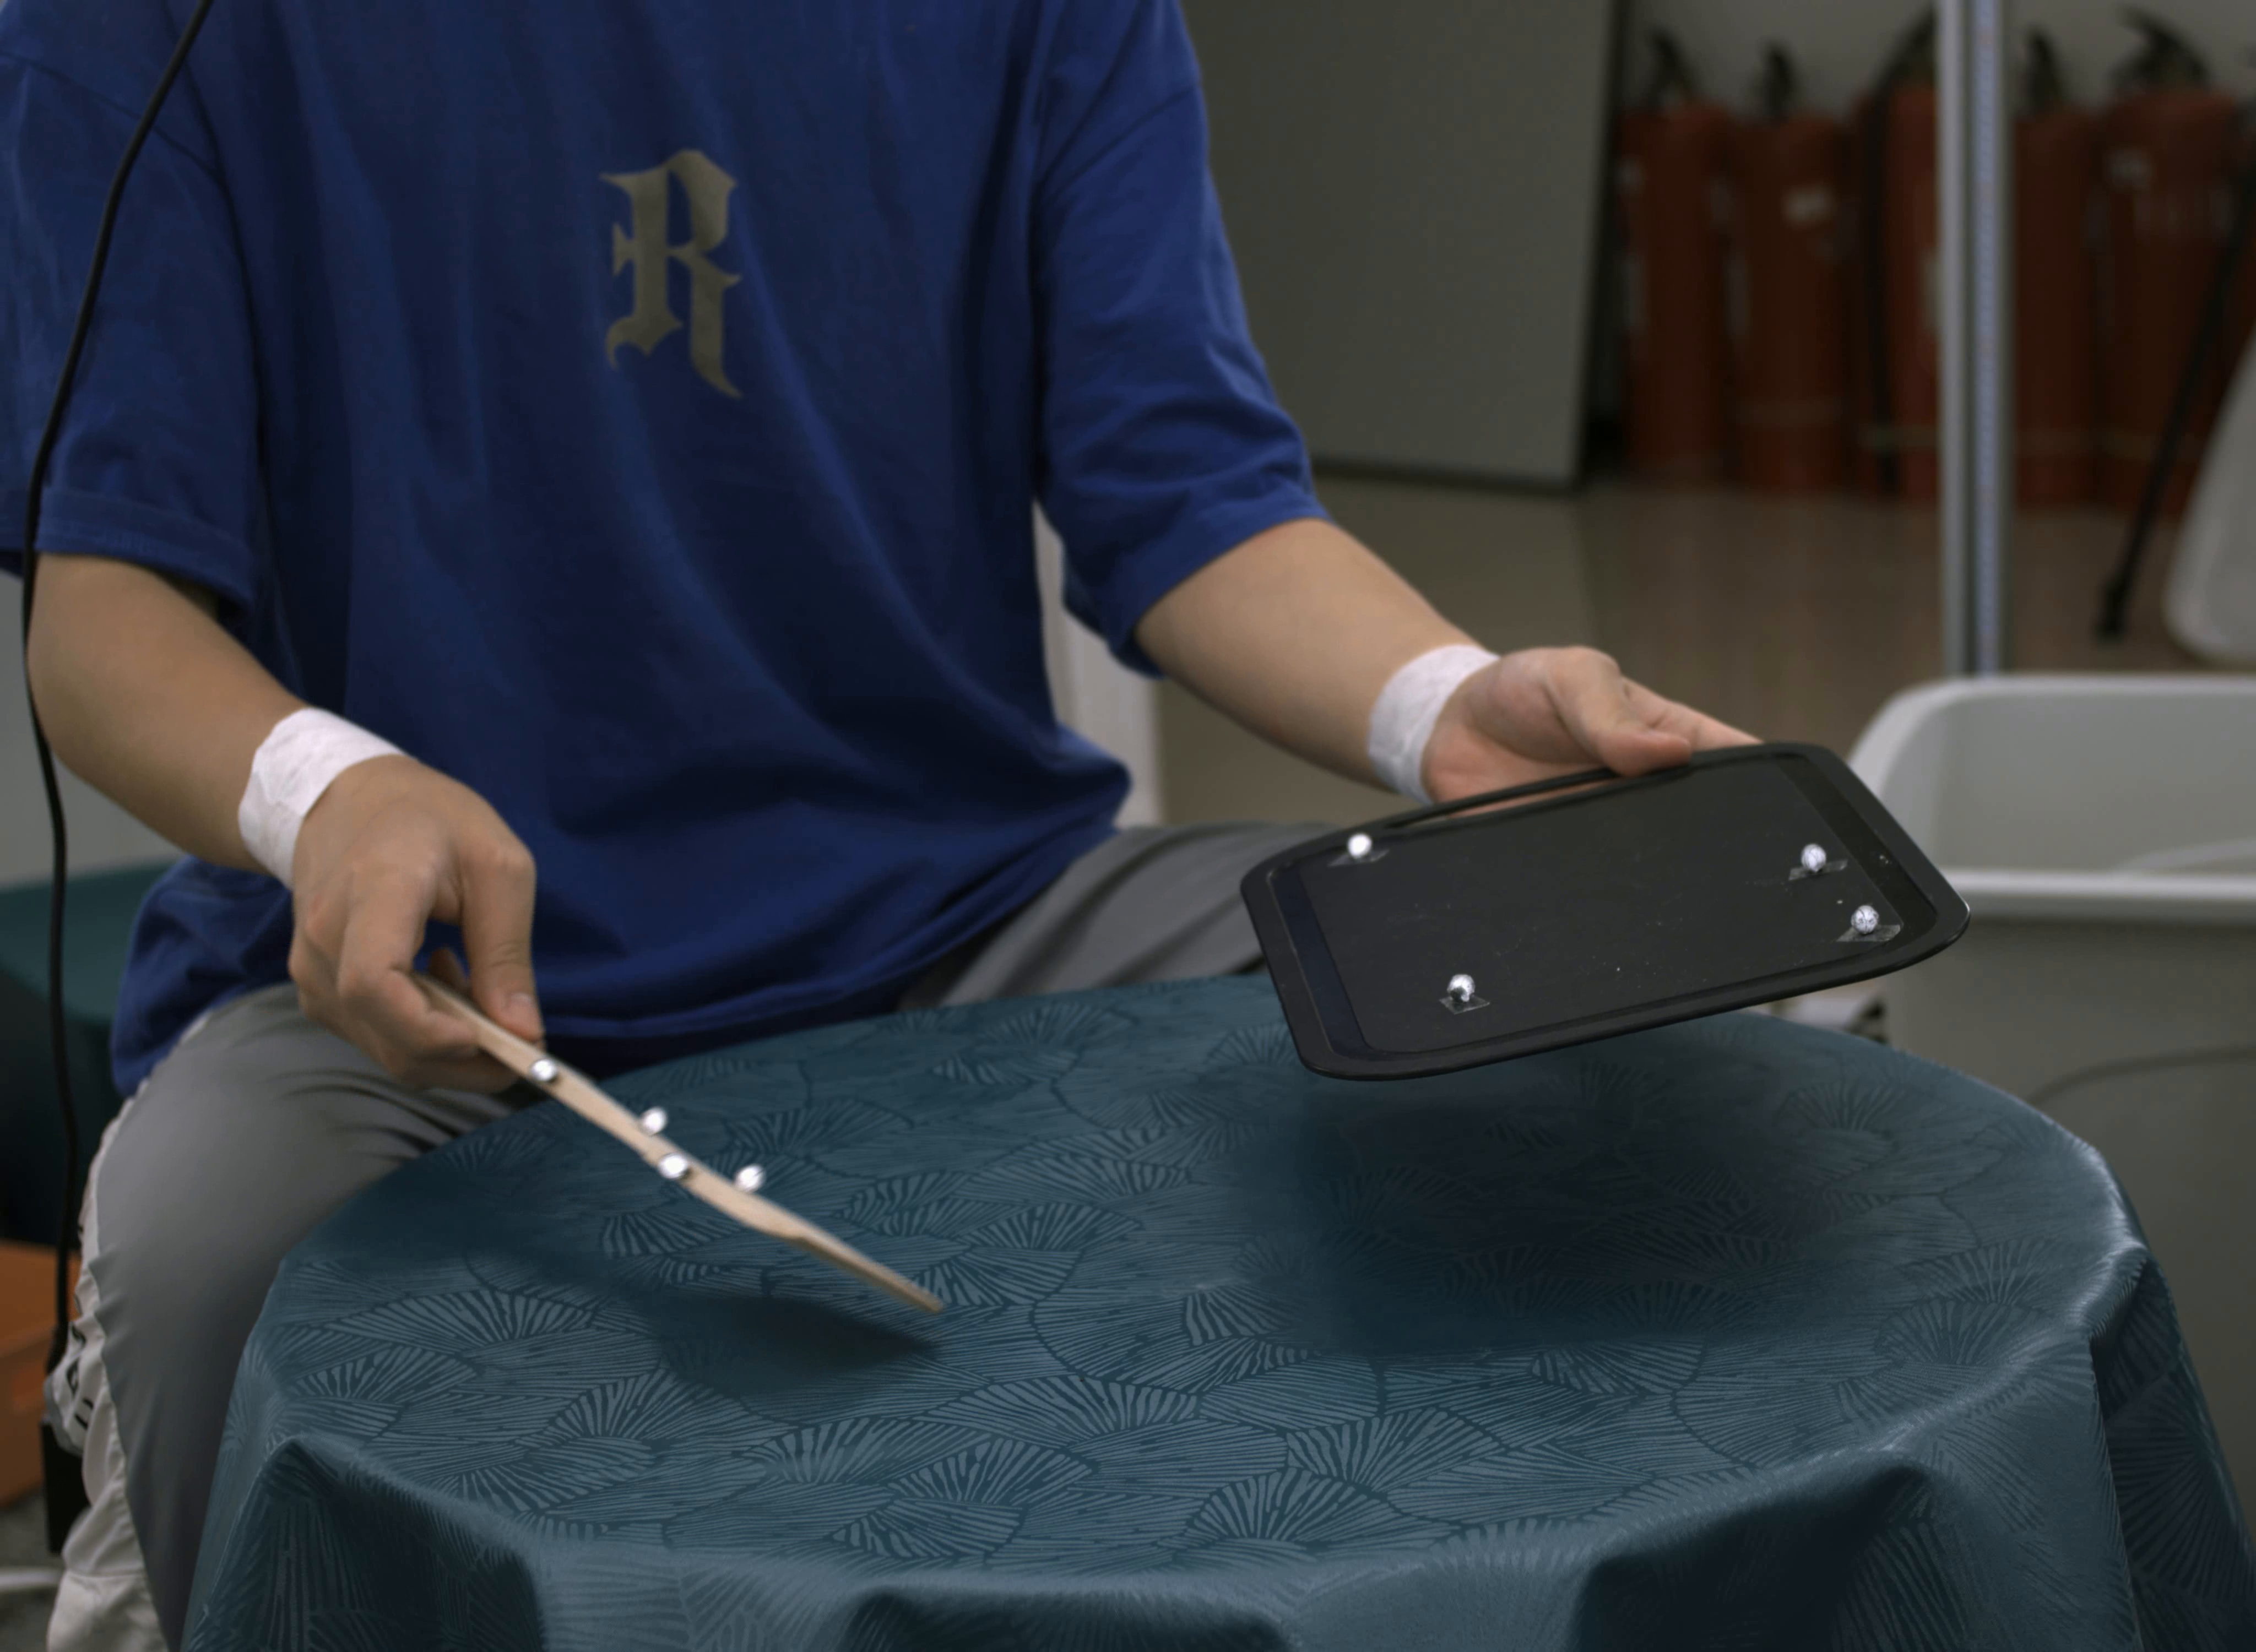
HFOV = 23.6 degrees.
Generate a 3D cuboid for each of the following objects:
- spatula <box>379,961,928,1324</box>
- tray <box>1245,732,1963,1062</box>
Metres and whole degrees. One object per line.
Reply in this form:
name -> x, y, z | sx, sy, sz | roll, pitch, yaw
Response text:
spatula -> -0.165, 0.094, 1.726 | 0.071, 0.011, 0.296 | 33, -3, -39
tray -> 0.145, 0.017, 1.740 | 0.209, 0.010, 0.326 | -13, 13, 1
